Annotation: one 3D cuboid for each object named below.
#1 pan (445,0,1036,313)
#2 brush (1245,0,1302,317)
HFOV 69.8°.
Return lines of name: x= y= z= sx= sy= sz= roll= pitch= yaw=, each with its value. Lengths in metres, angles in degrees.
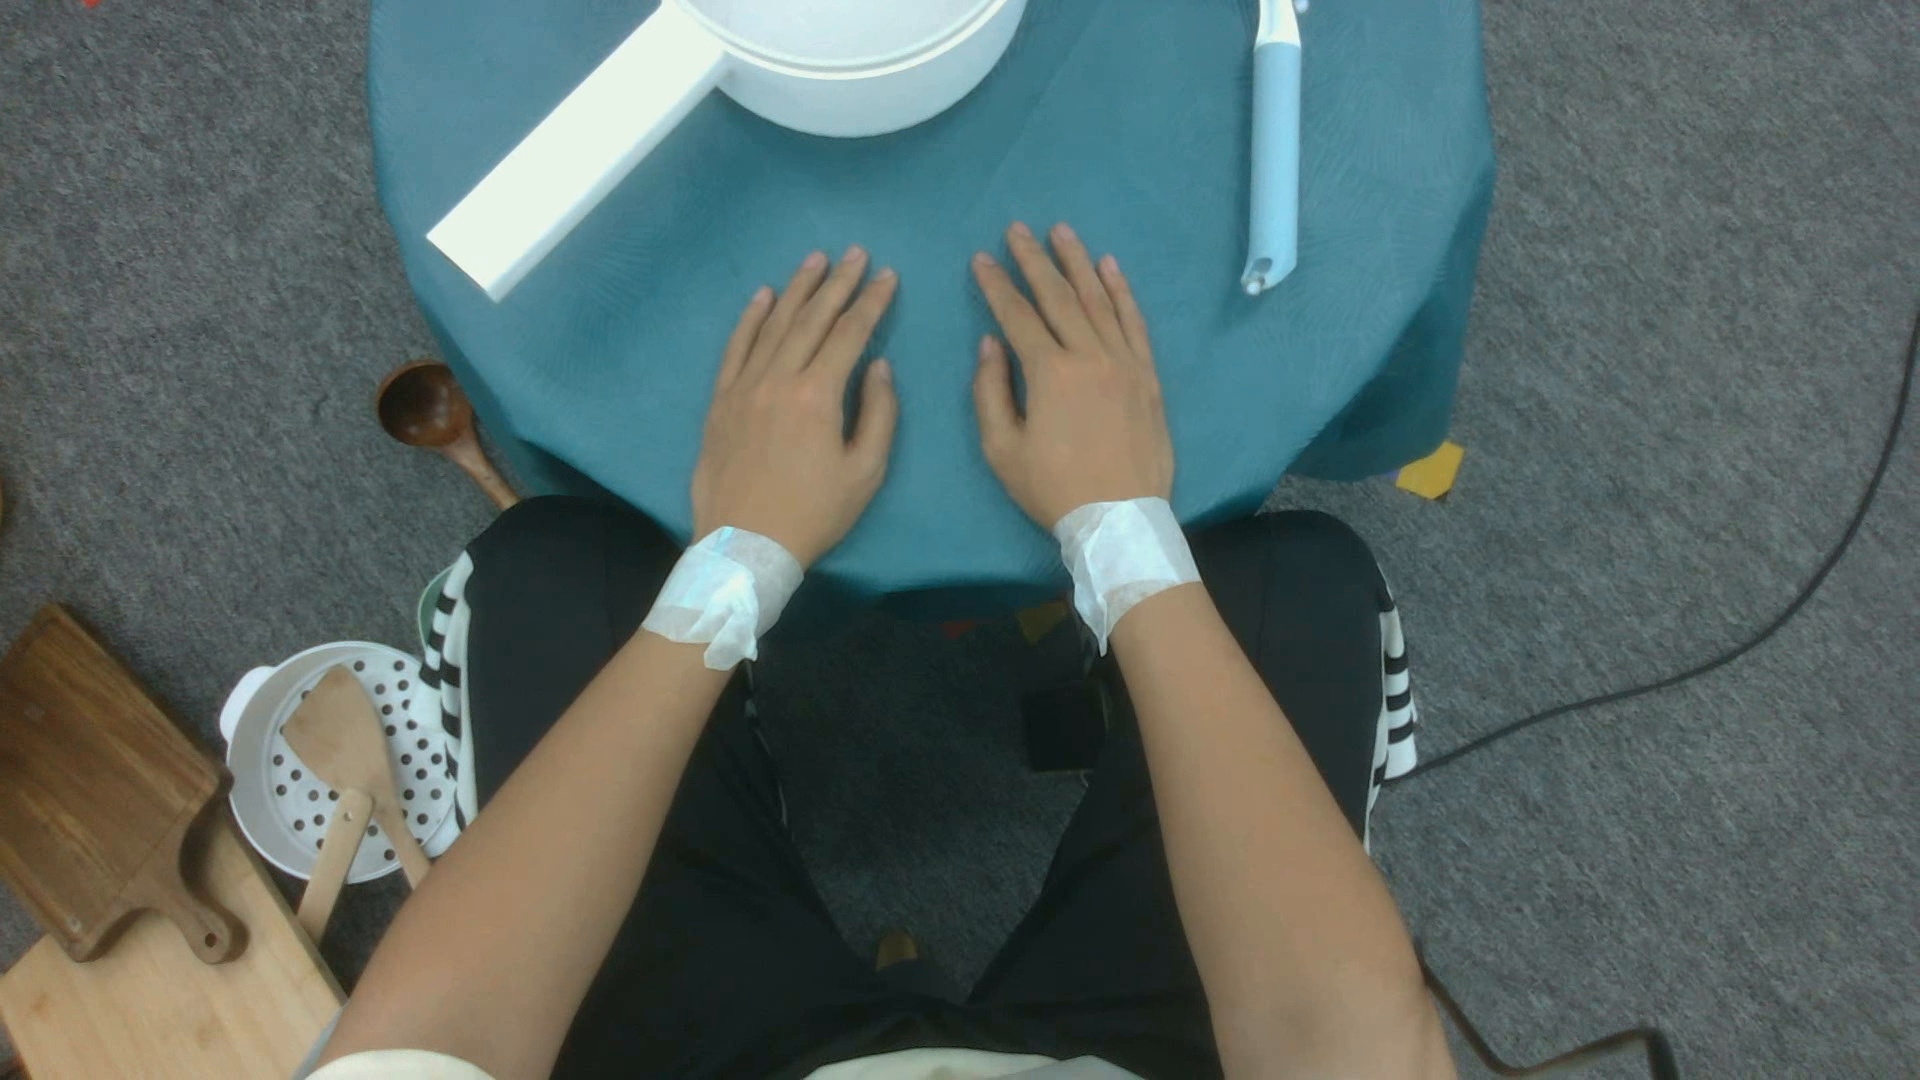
pan: x=-0.107 y=-0.245 z=0.700 sx=0.201 sy=0.102 sz=0.355 roll=41 pitch=84 yaw=6
brush: x=0.148 y=-0.280 z=0.718 sx=0.084 sy=0.083 sz=0.326 roll=4 pitch=80 yaw=-7
